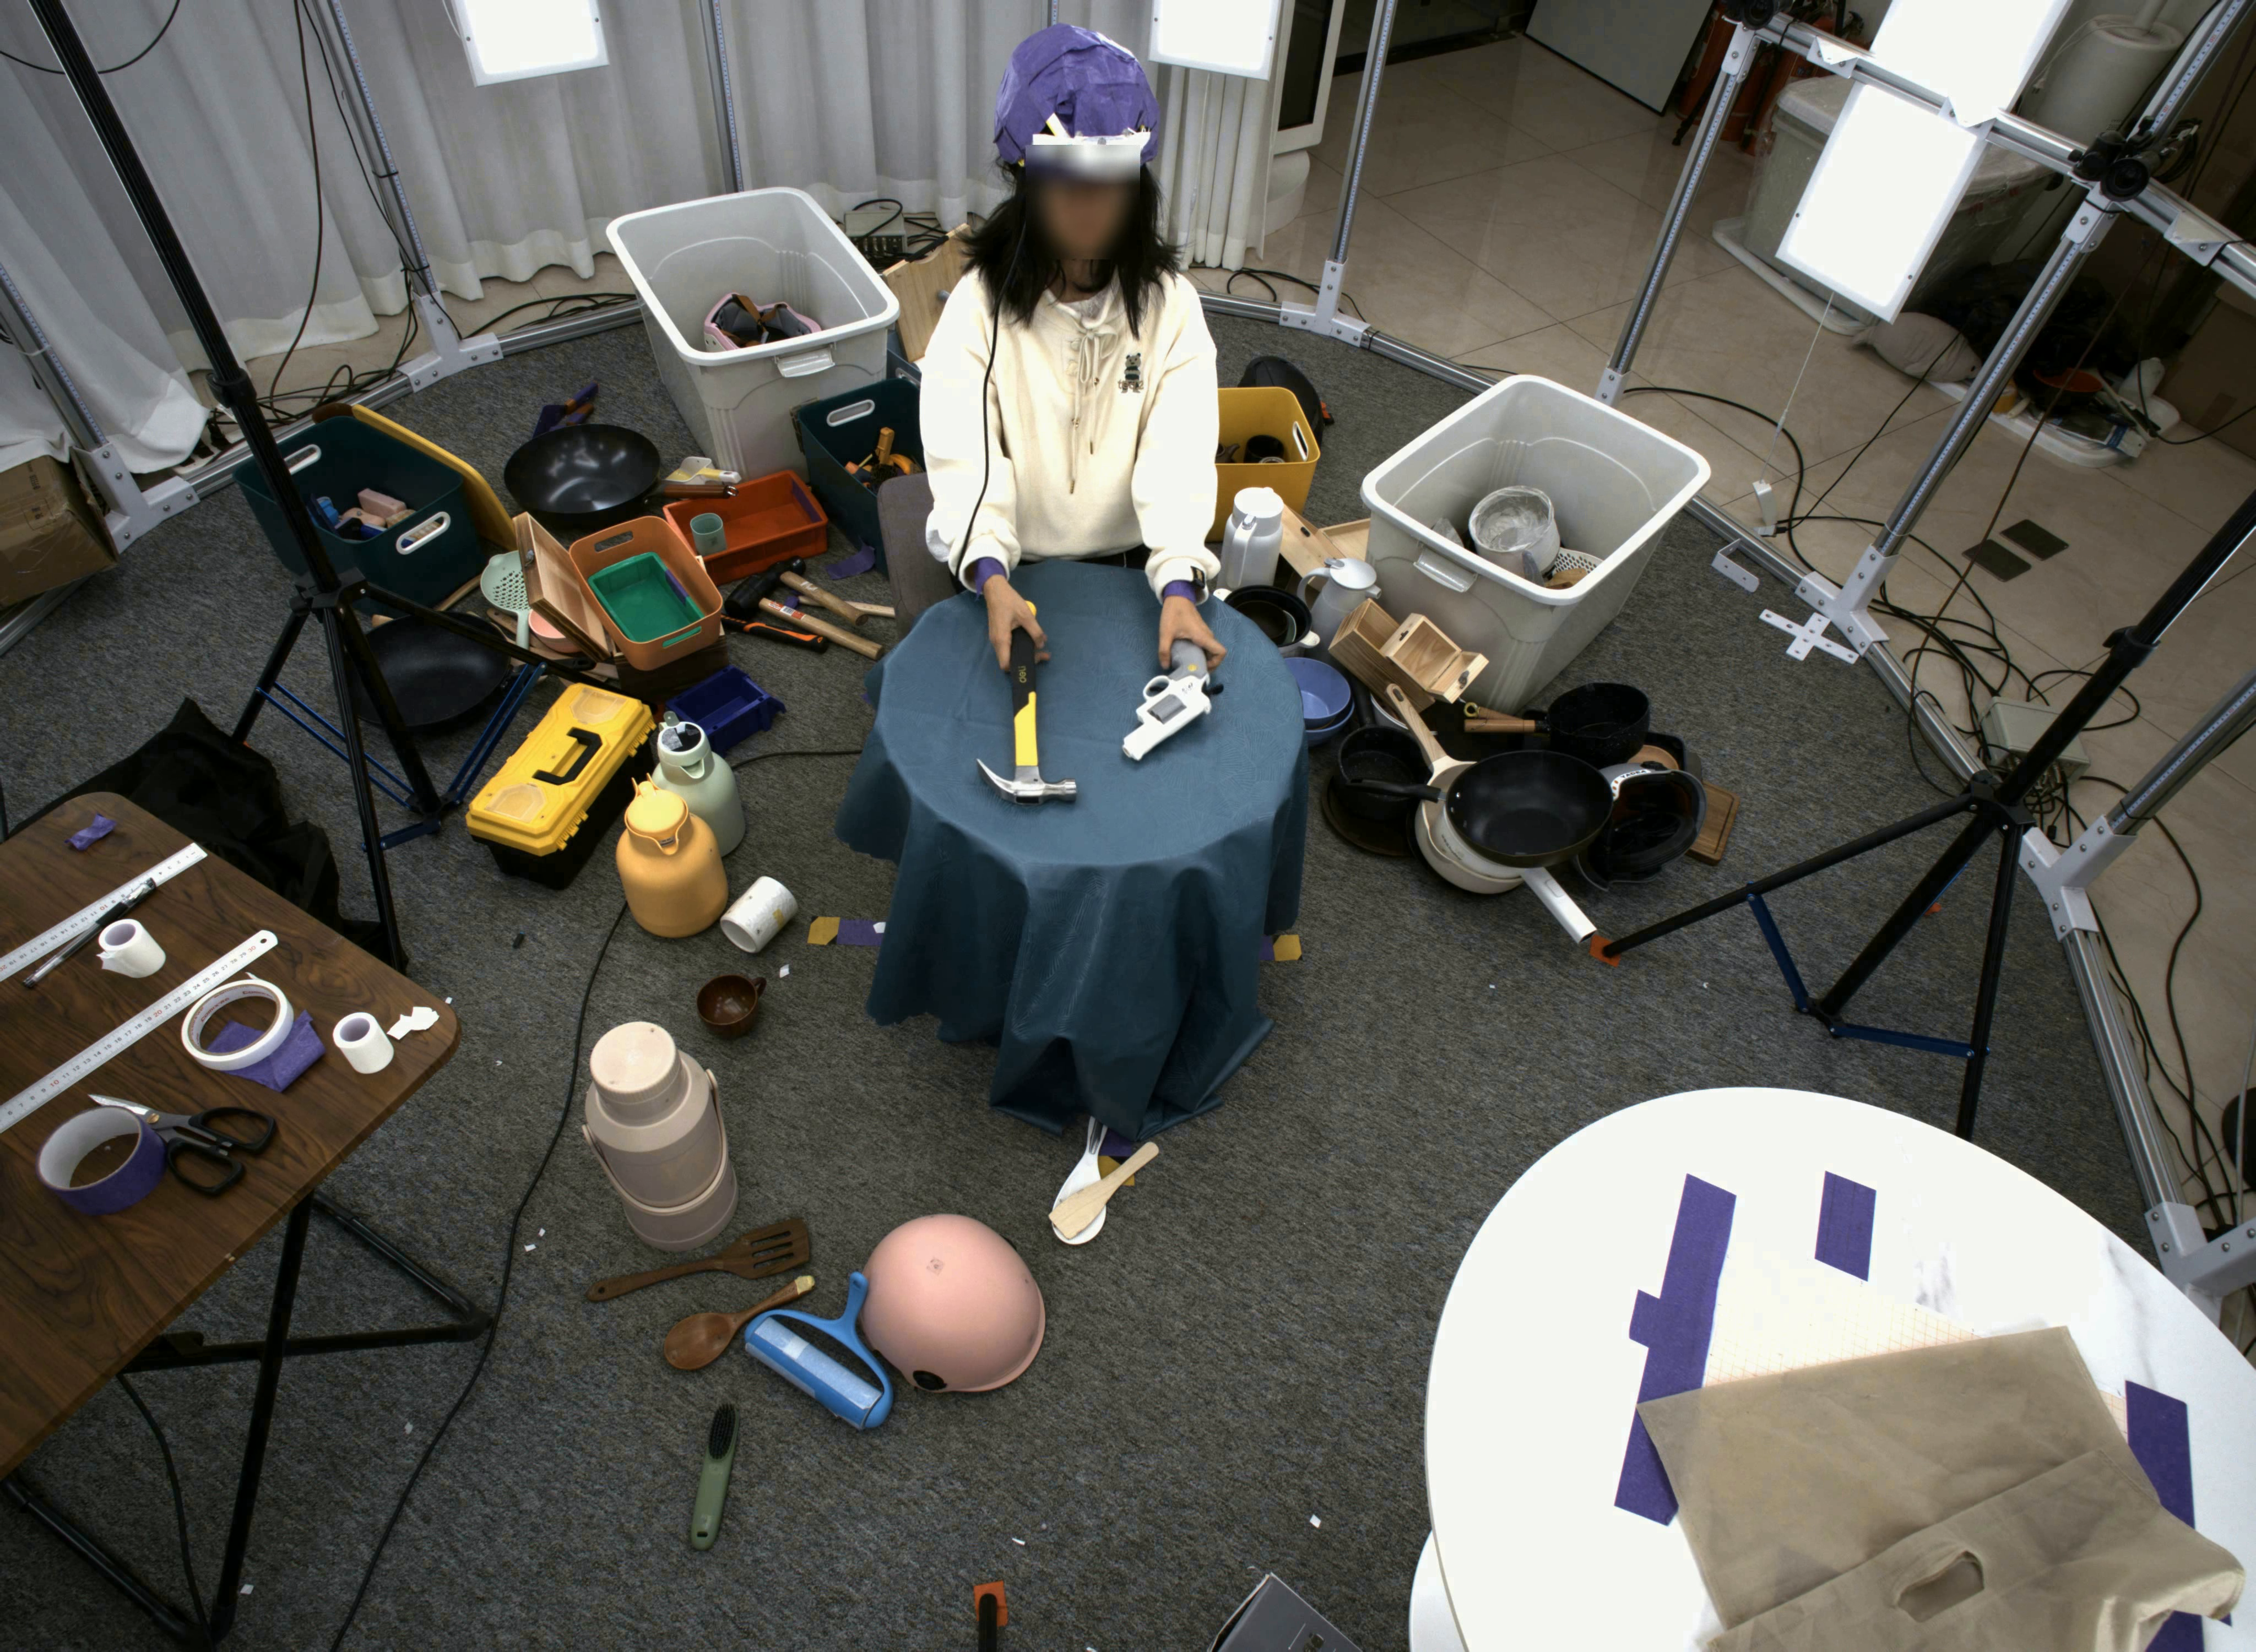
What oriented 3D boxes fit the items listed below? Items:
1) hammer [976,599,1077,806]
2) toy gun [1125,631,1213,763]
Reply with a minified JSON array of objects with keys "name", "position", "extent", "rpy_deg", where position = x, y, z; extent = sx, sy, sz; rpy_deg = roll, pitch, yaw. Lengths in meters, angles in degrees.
[{"name":"hammer","position":[-0.142,-0.178,1.766],"extent":[0.131,0.031,0.346],"rpy_deg":[-2,57,-2]},{"name":"toy gun","position":[0.048,-0.184,1.800],"extent":[0.210,0.038,0.144],"rpy_deg":[-38,55,-19]}]
